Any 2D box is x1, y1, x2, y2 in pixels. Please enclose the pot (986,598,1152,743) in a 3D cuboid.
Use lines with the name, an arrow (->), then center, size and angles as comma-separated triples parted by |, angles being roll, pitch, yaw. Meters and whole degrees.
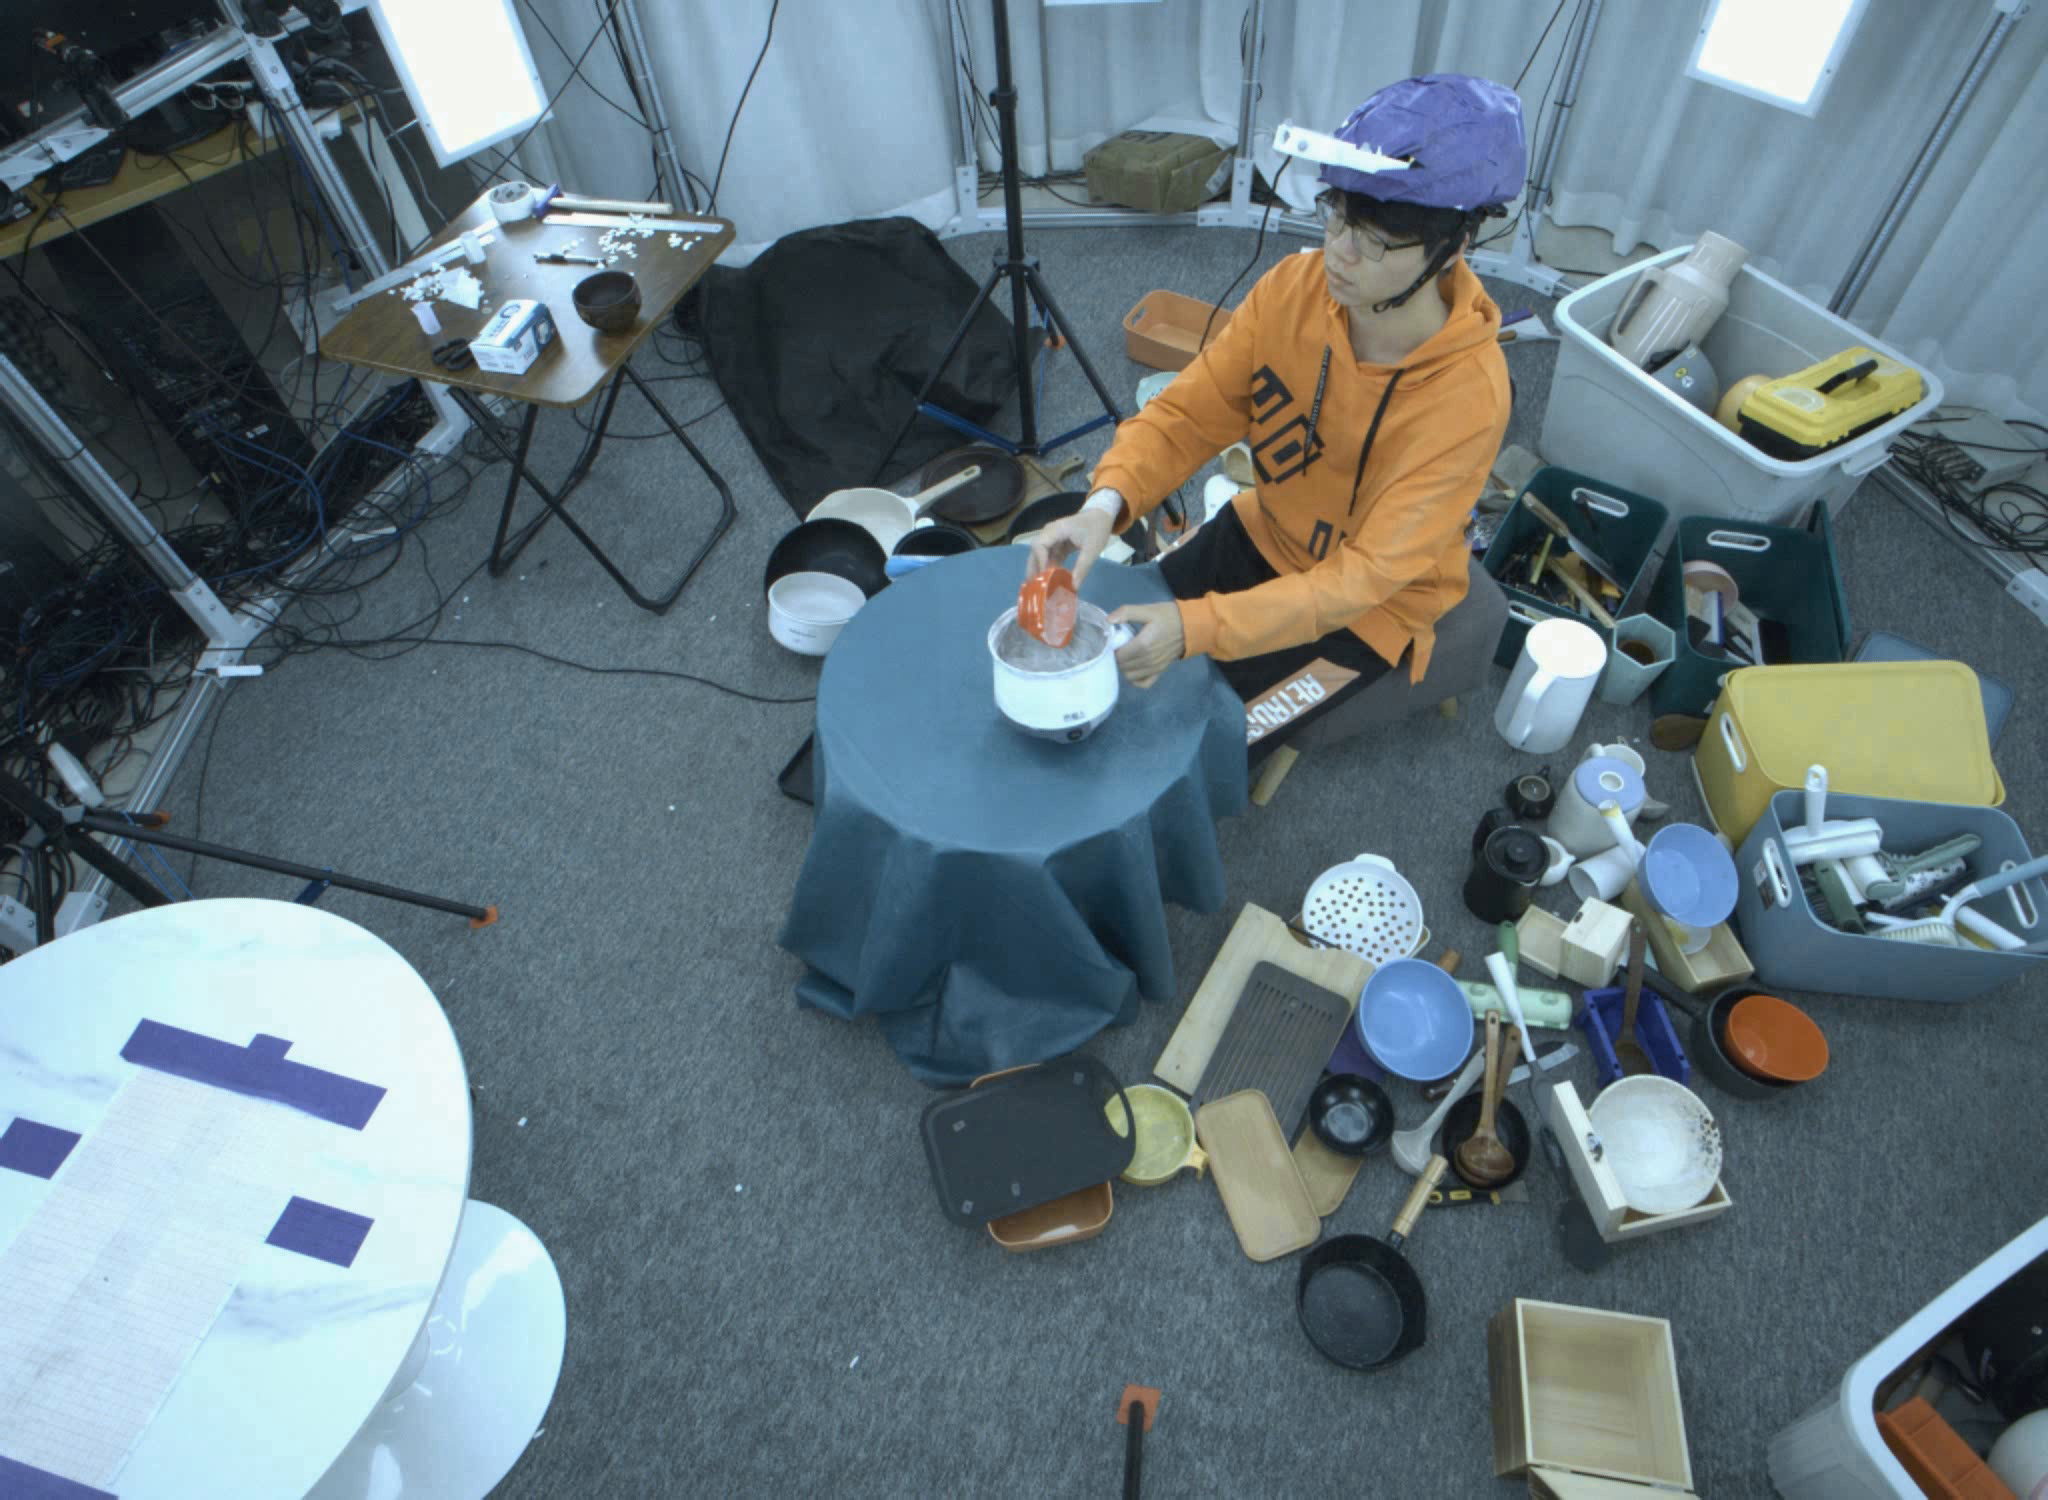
pot -> 0.068, -0.121, 1.752 | 0.235, 0.138, 0.175 | -16, 45, -10

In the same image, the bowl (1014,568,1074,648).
bowl -> 0.024, -0.198, 1.695 | 0.050, 0.121, 0.119 | 8, 55, 23
